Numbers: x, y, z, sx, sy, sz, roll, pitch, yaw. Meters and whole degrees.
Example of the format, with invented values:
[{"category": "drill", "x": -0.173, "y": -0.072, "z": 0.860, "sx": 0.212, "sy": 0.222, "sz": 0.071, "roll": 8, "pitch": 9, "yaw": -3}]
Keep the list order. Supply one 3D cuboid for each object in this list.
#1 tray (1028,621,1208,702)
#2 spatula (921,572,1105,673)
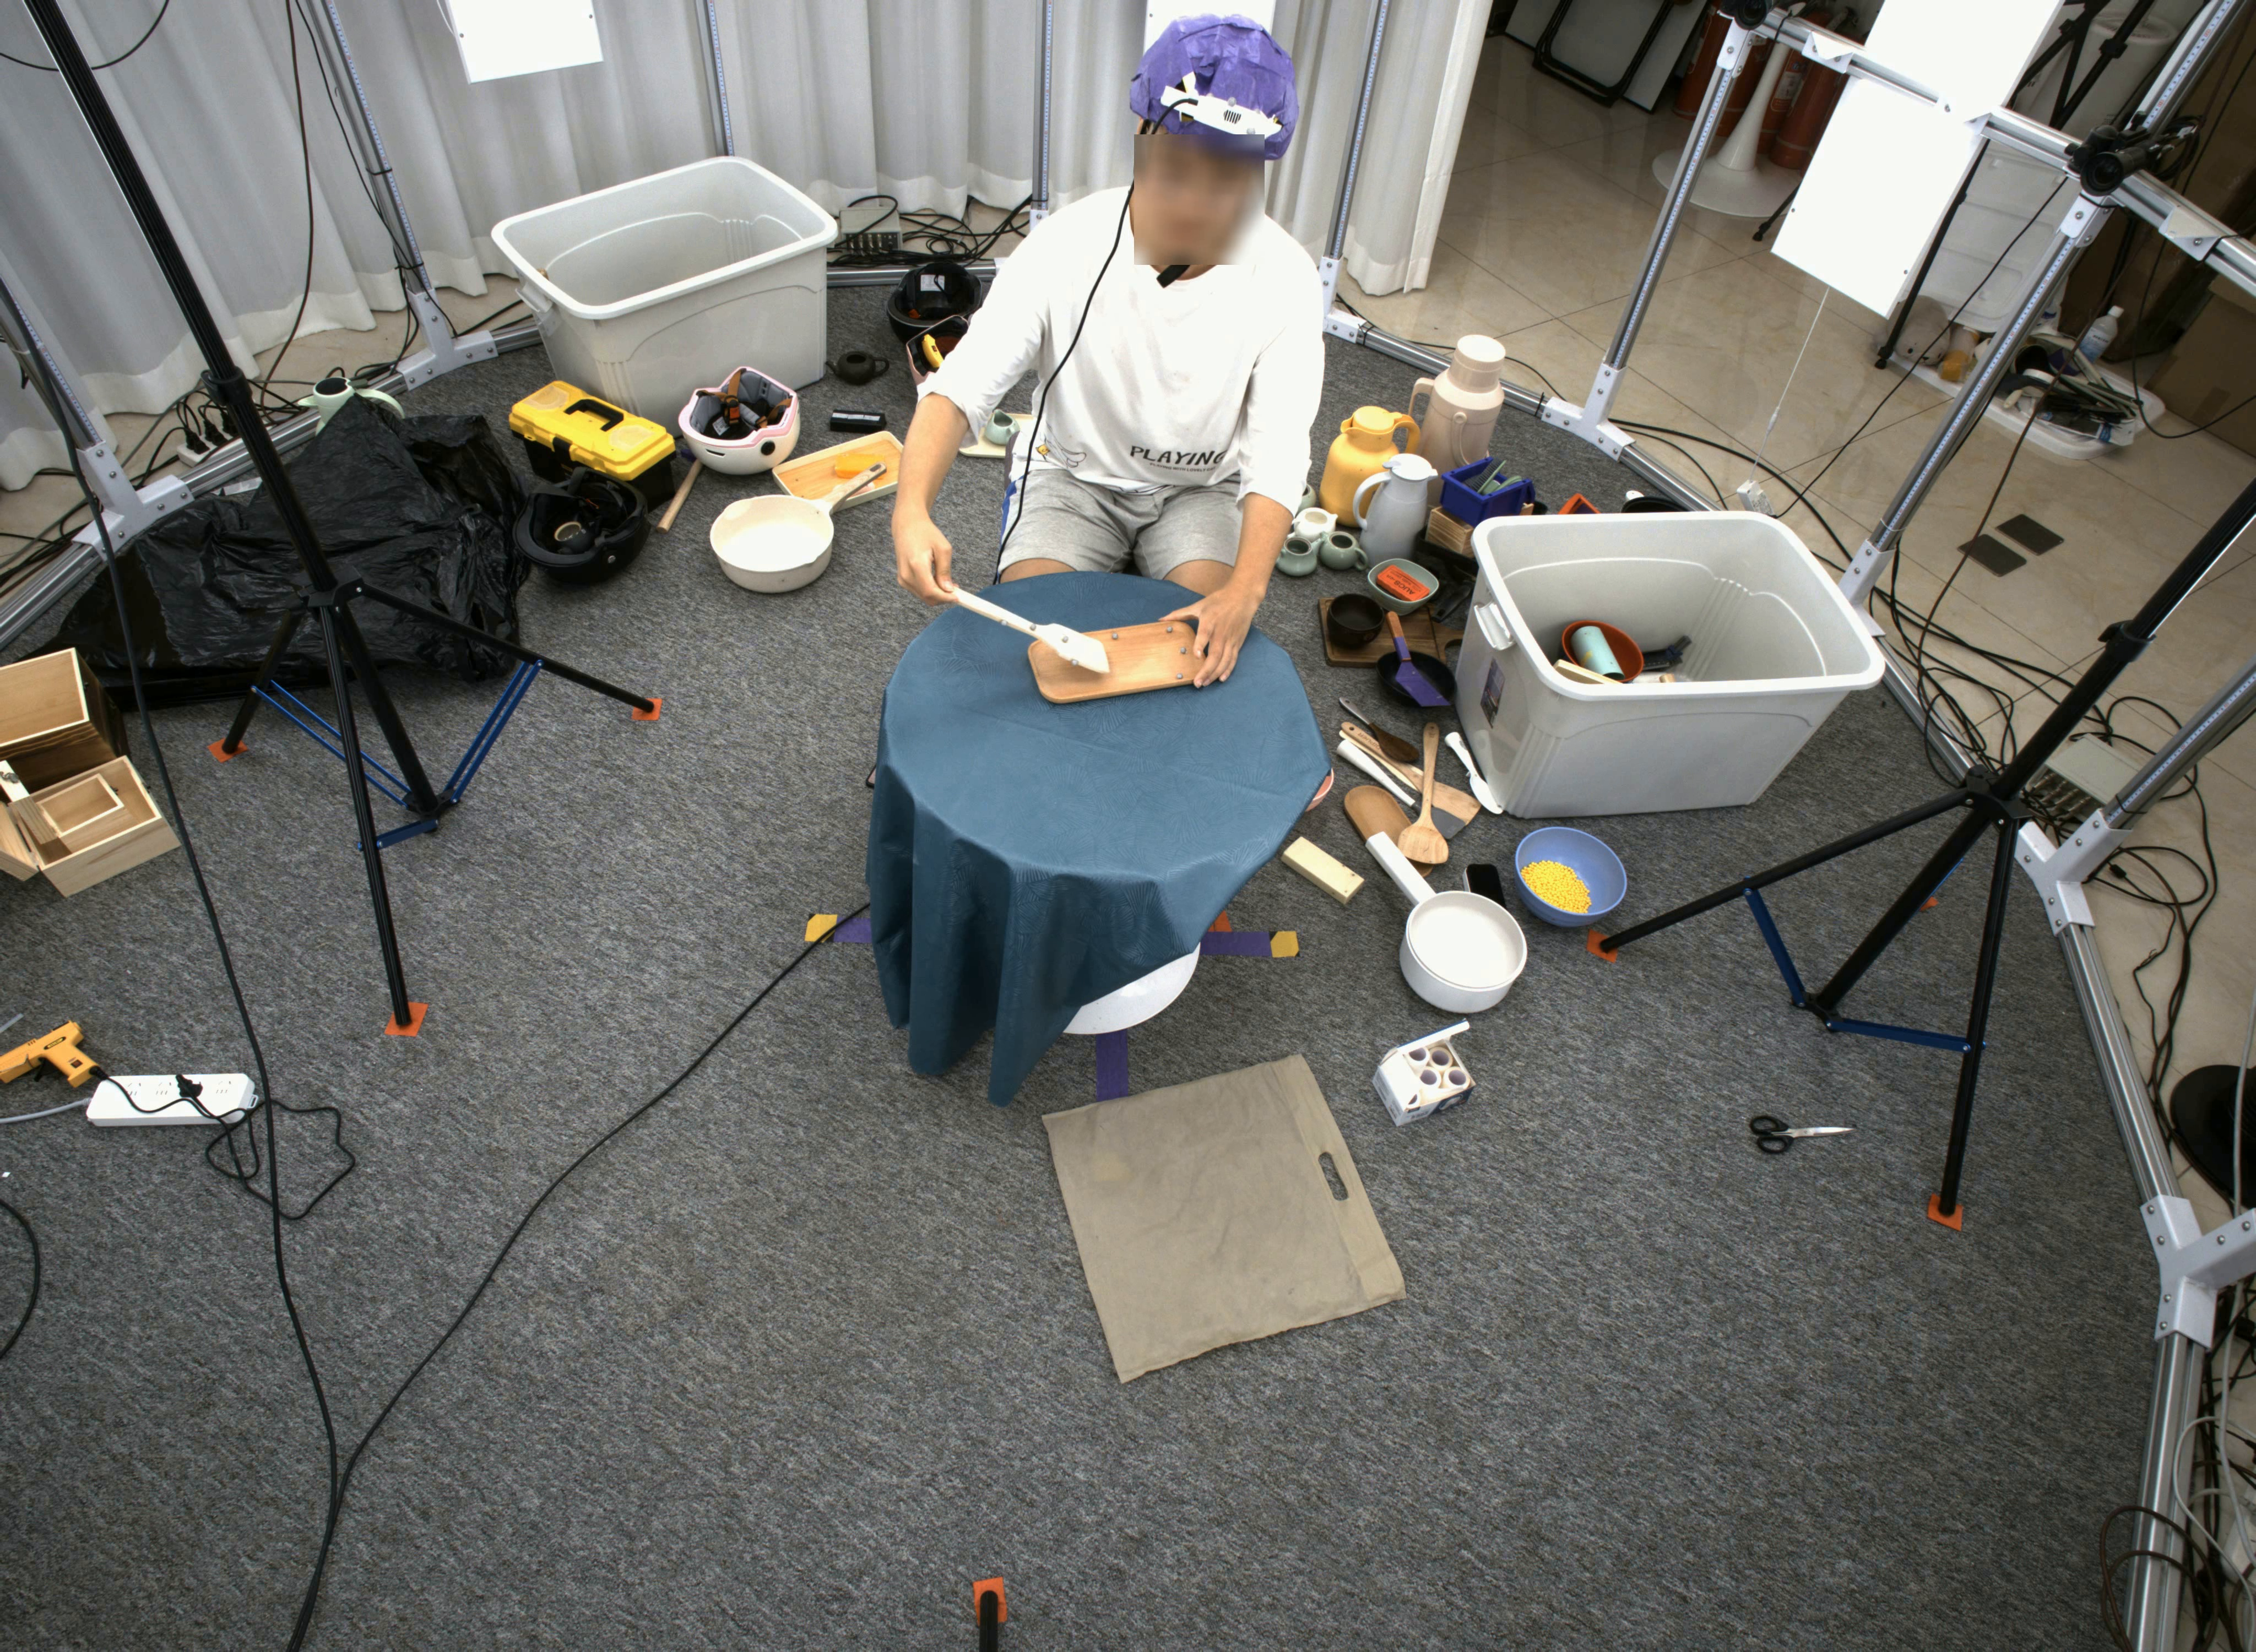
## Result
[{"category": "tray", "x": -0.014, "y": -0.239, "z": 1.861, "sx": 0.250, "sy": 0.022, "sz": 0.134, "roll": -9, "pitch": 48, "yaw": -12}, {"category": "spatula", "x": -0.153, "y": -0.282, "z": 1.763, "sx": 0.289, "sy": 0.010, "sz": 0.074, "roll": 20, "pitch": 39, "yaw": -31}]
